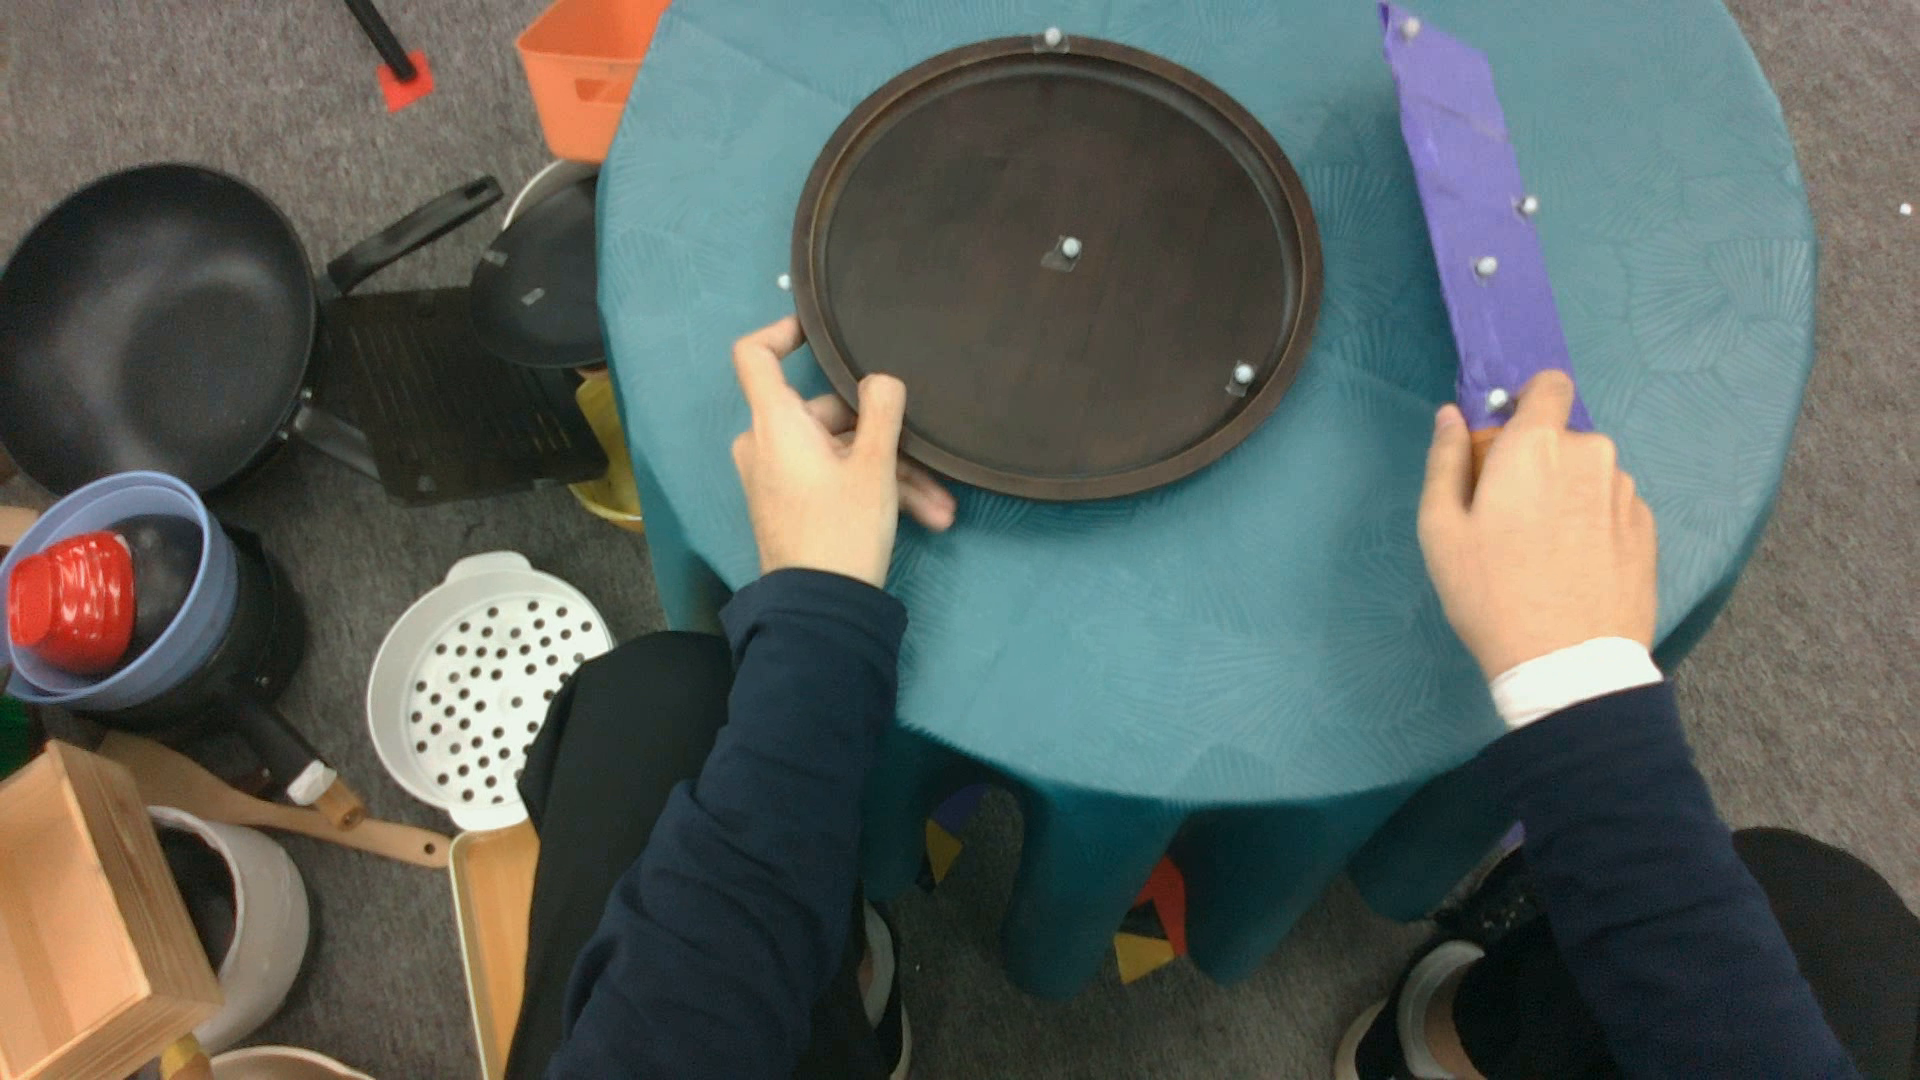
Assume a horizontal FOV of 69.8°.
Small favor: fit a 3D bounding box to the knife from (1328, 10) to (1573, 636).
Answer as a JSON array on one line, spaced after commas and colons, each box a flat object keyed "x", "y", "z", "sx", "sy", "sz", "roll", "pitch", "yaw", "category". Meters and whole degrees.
[{"x": 0.240, "y": -0.108, "z": 0.633, "sx": 0.104, "sy": 0.032, "sz": 0.316, "roll": 5, "pitch": 67, "yaw": -29, "category": "knife"}]

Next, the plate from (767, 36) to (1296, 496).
[{"x": 0.035, "y": -0.136, "z": 0.663, "sx": 0.255, "sy": 0.029, "sz": 0.255, "roll": 1, "pitch": 67, "yaw": -2, "category": "plate"}]
